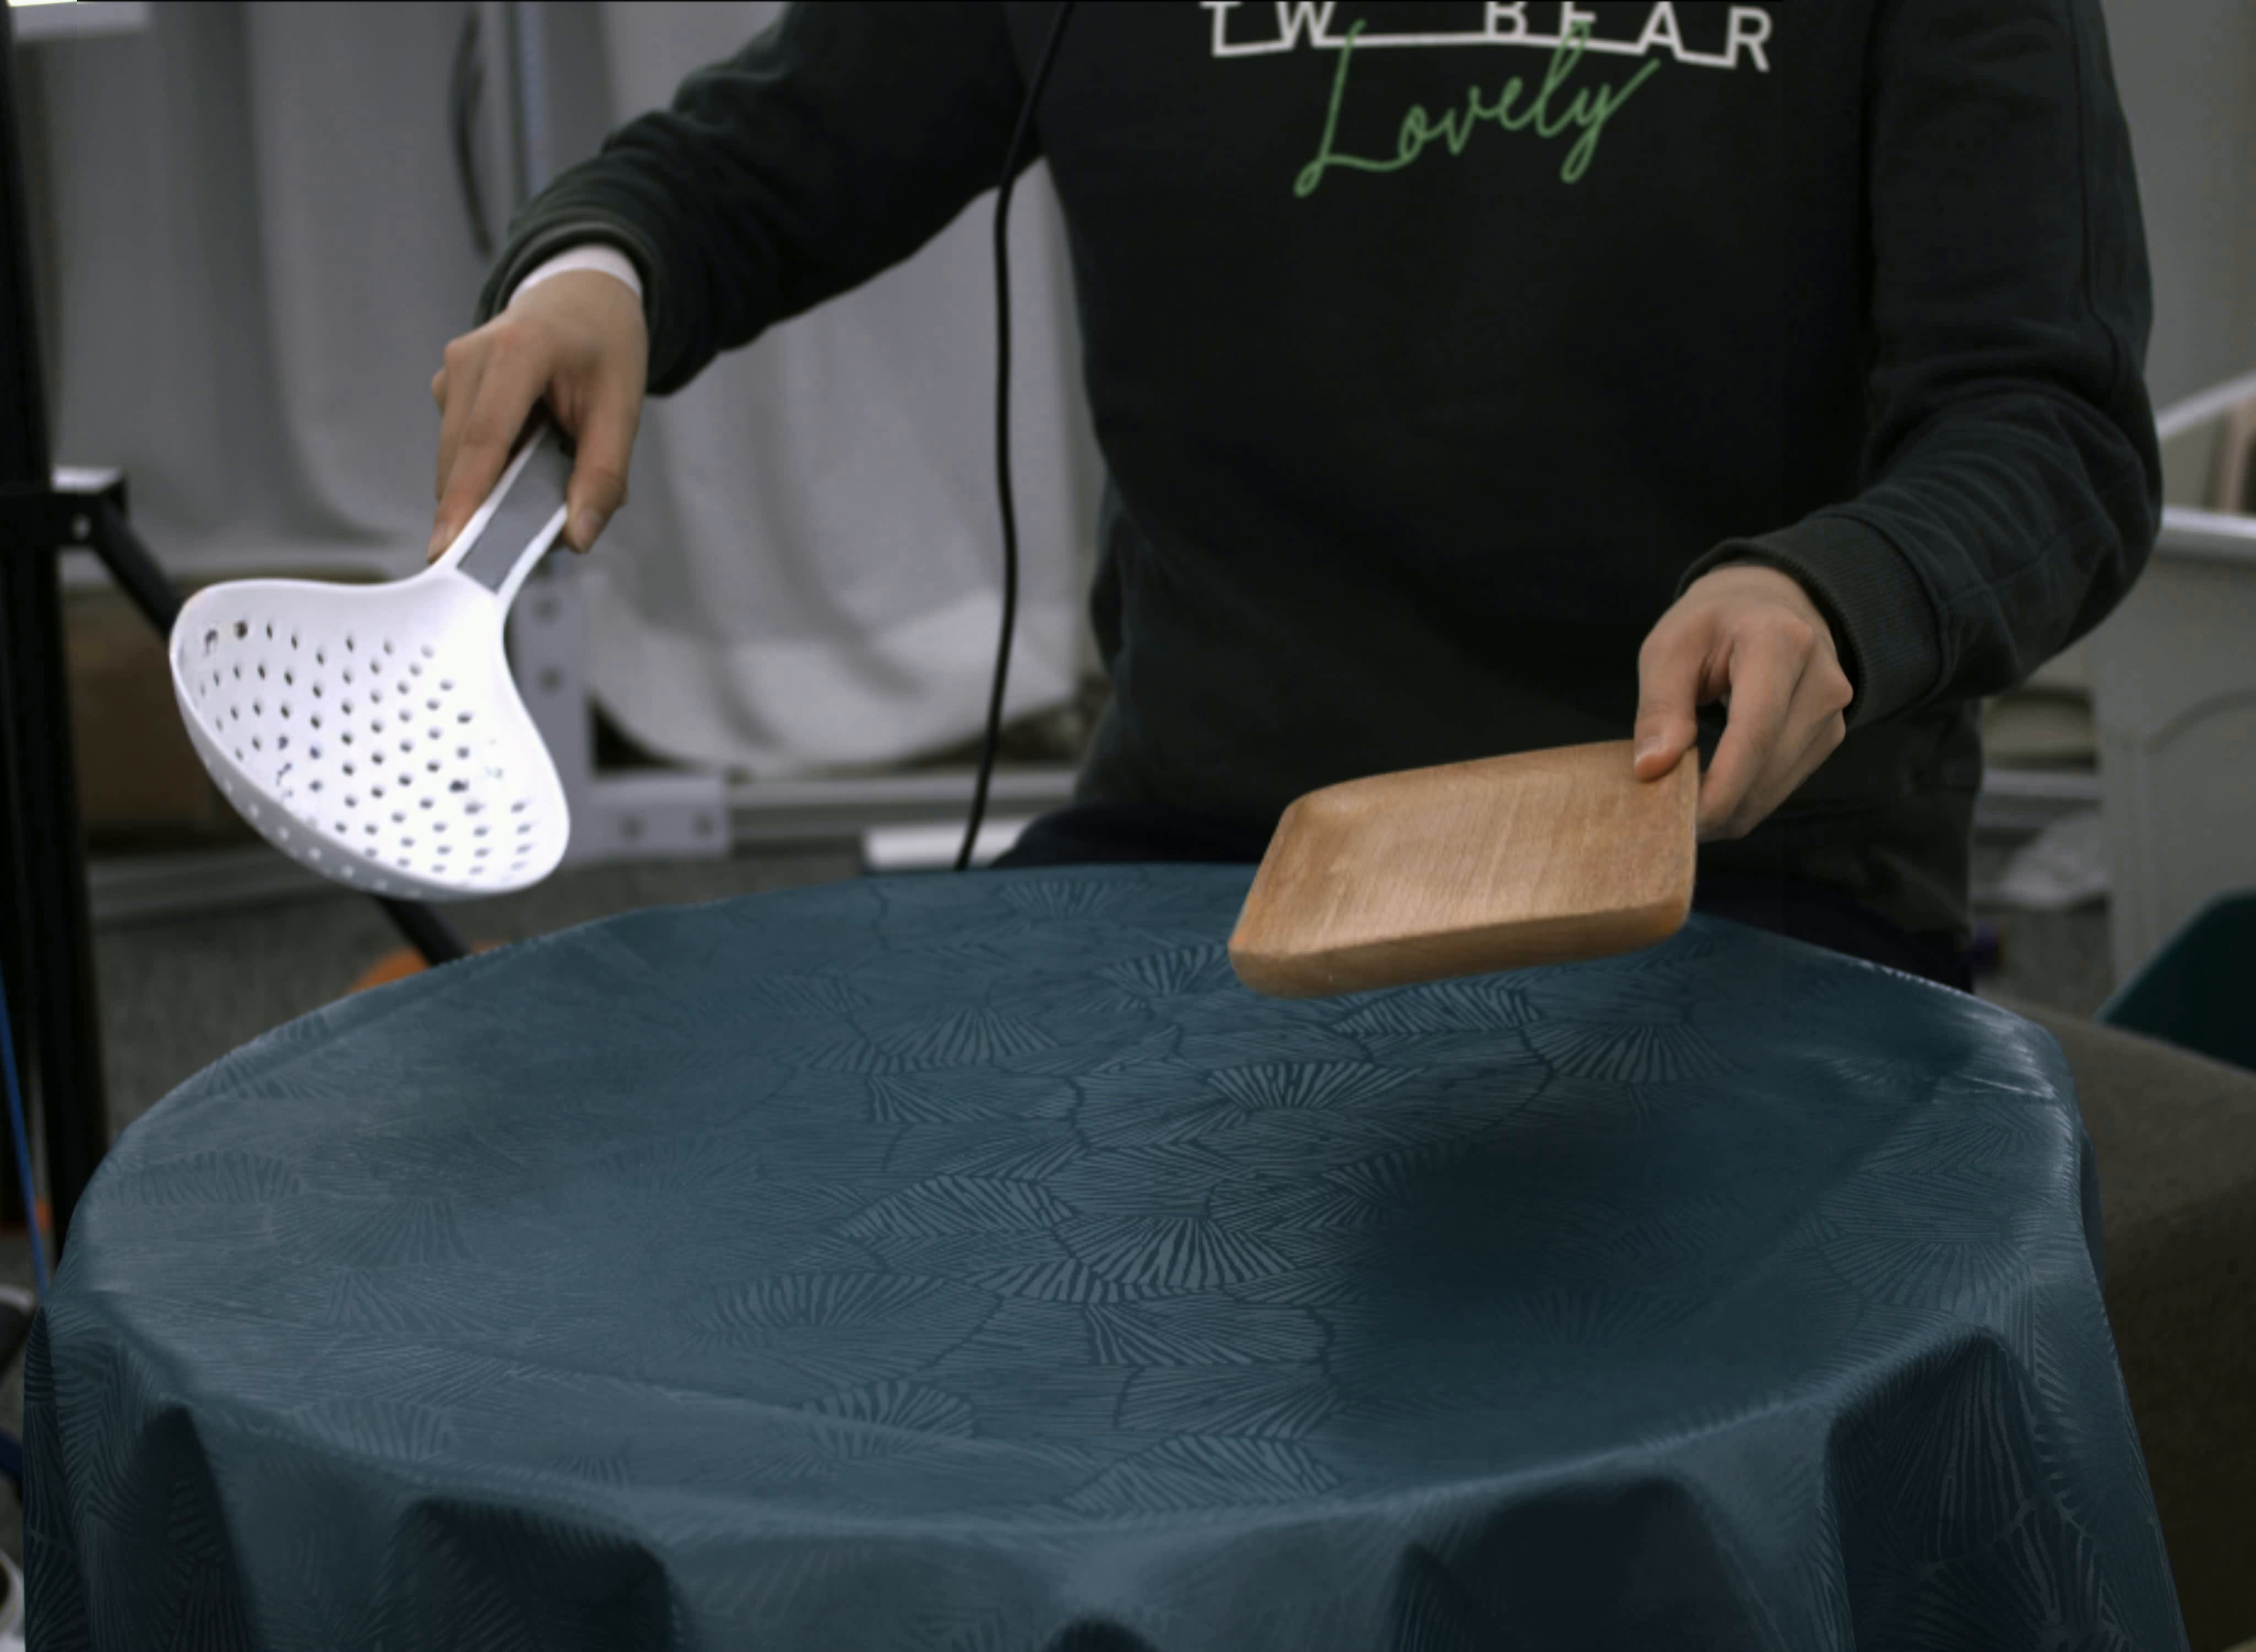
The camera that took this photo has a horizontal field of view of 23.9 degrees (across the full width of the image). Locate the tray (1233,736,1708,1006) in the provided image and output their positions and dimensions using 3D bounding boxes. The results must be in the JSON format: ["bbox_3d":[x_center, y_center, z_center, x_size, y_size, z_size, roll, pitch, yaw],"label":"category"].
[{"bbox_3d":[0.101,0.011,1.513,0.131,0.023,0.250,-7,10,8],"label":"tray"}]

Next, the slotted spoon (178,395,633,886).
[{"bbox_3d":[-0.213,-0.071,1.710,0.135,0.046,0.349,34,29,-6],"label":"slotted spoon"}]
